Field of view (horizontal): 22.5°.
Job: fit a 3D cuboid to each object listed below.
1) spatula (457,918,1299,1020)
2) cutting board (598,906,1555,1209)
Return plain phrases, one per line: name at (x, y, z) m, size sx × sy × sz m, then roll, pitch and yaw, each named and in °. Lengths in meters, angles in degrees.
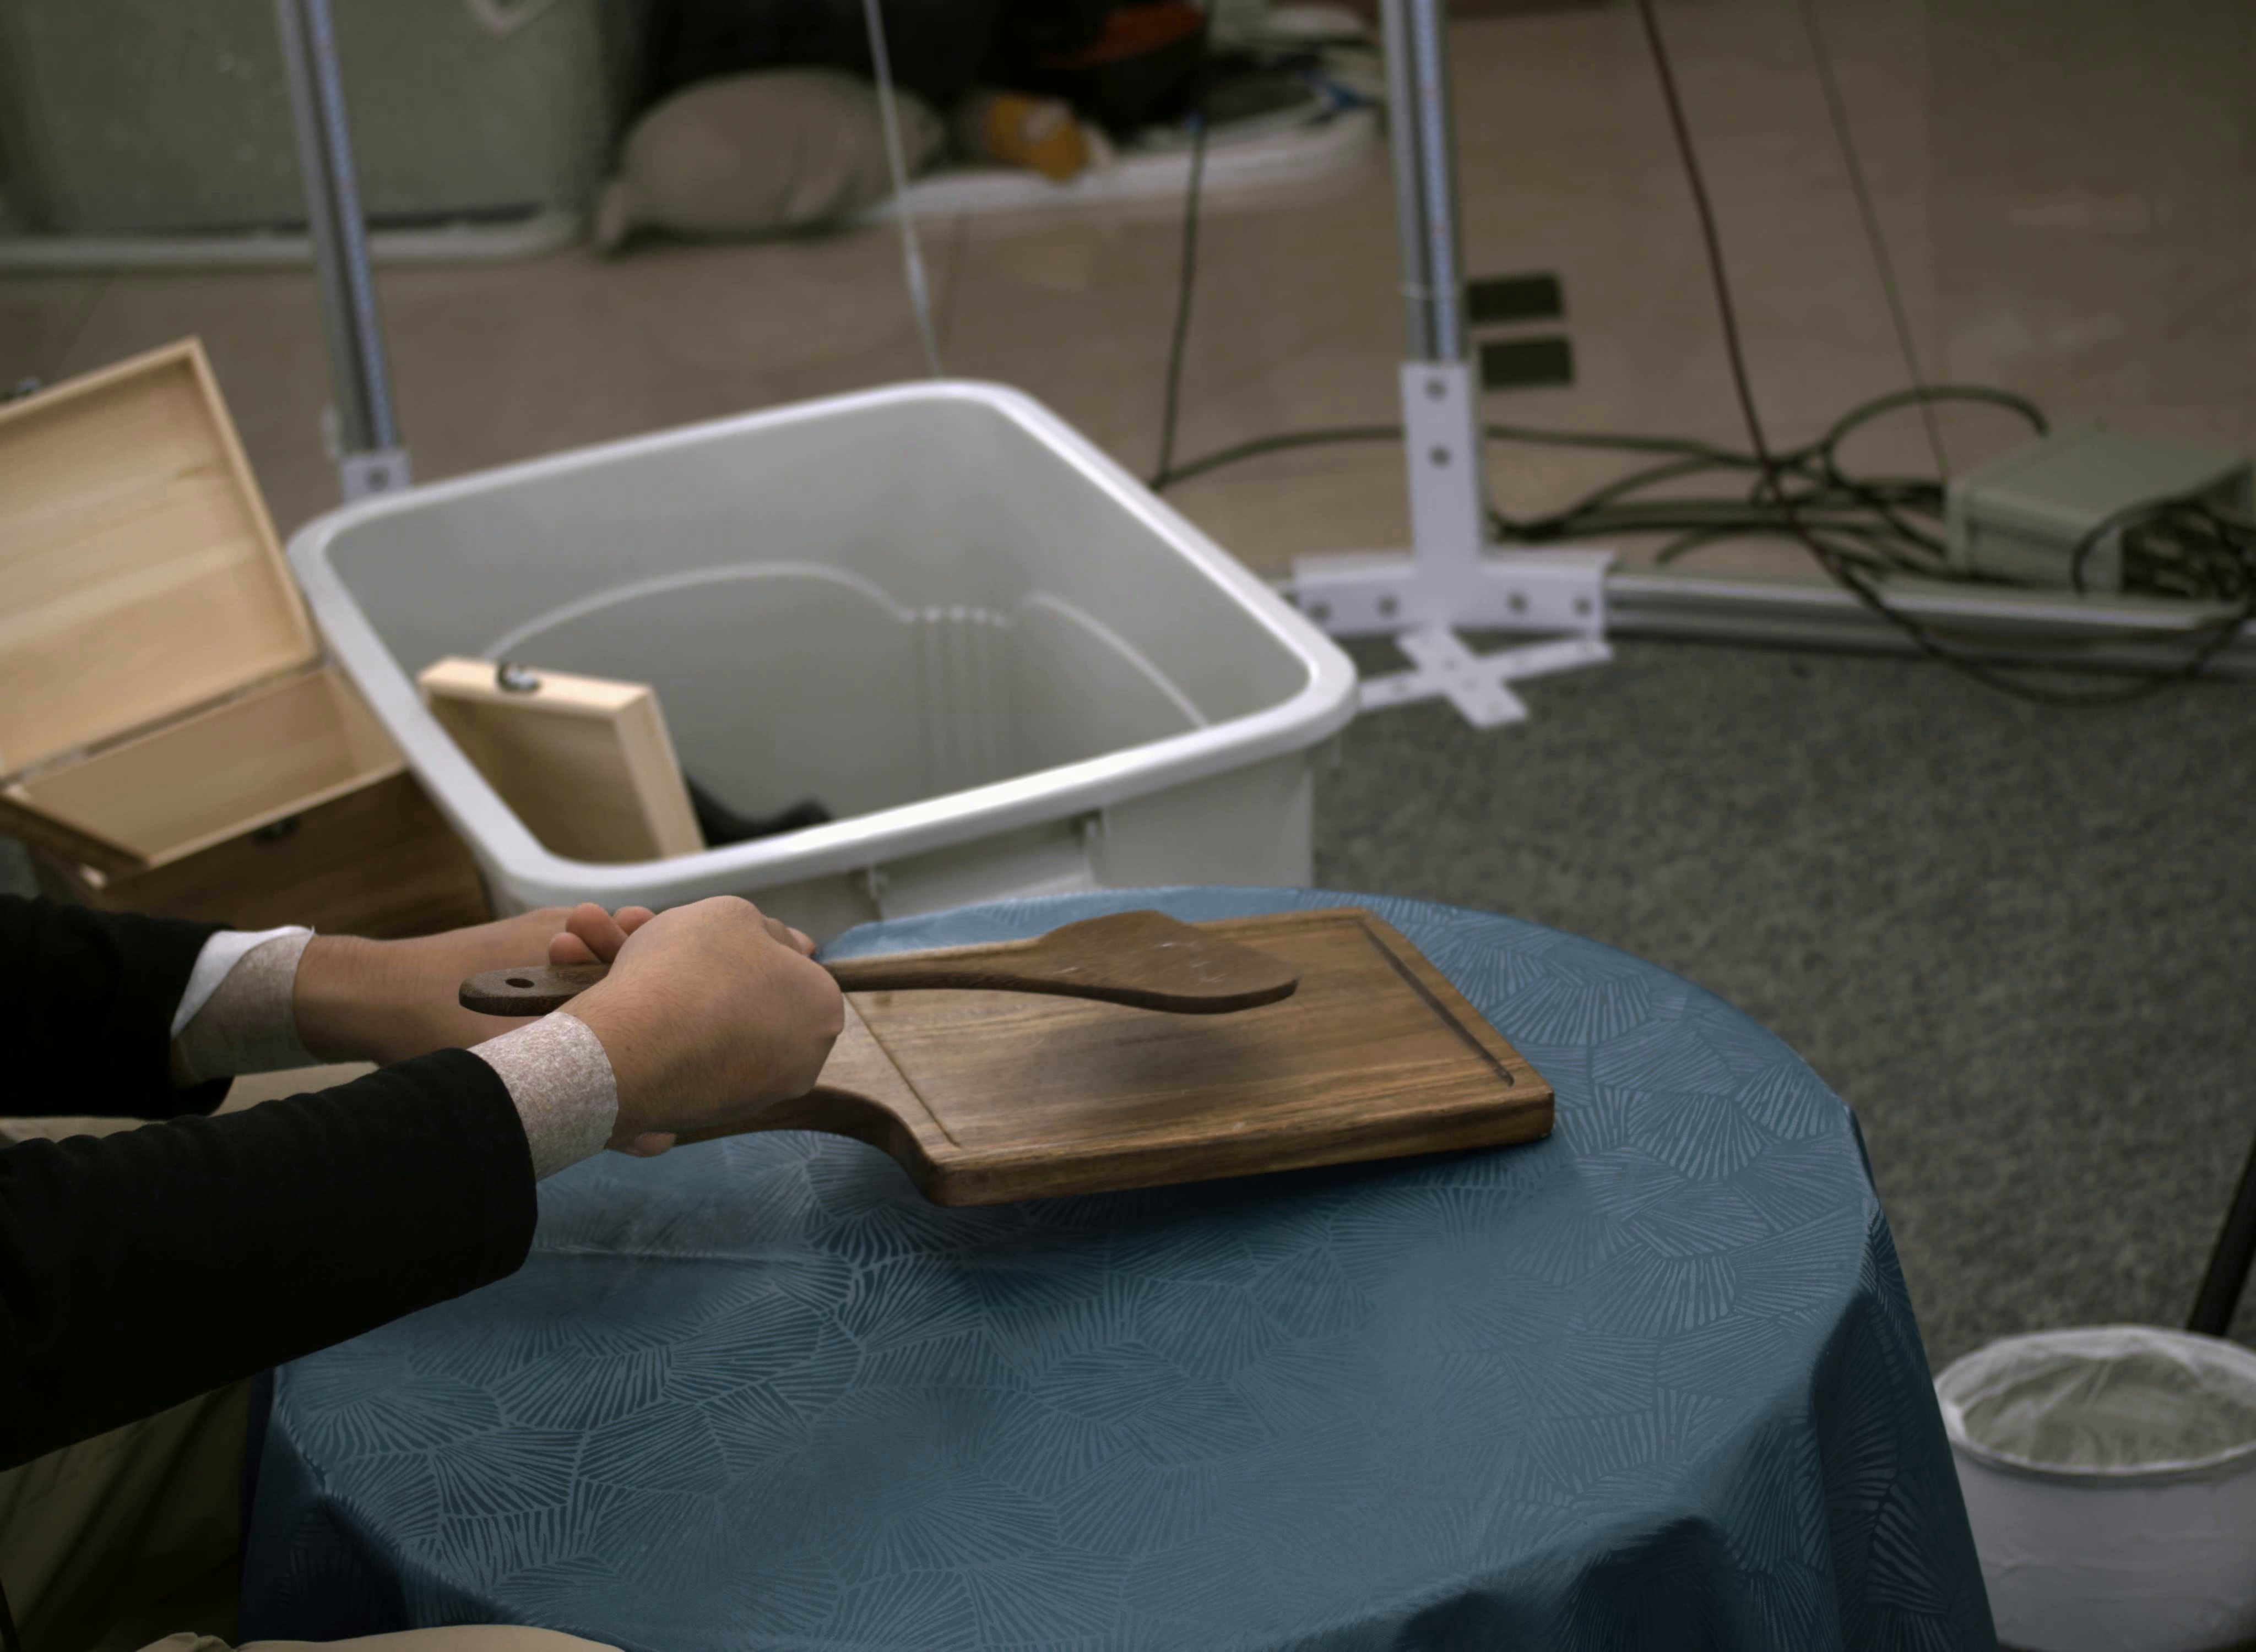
spatula at (-0.090, 0.055, 2.052) m, size 0.095 × 0.016 × 0.386 m, roll 23°, pitch 16°, yaw 41°
cutting board at (-0.033, 0.091, 2.176) m, size 0.351 × 0.023 × 0.198 m, roll -6°, pitch 23°, yaw -19°
